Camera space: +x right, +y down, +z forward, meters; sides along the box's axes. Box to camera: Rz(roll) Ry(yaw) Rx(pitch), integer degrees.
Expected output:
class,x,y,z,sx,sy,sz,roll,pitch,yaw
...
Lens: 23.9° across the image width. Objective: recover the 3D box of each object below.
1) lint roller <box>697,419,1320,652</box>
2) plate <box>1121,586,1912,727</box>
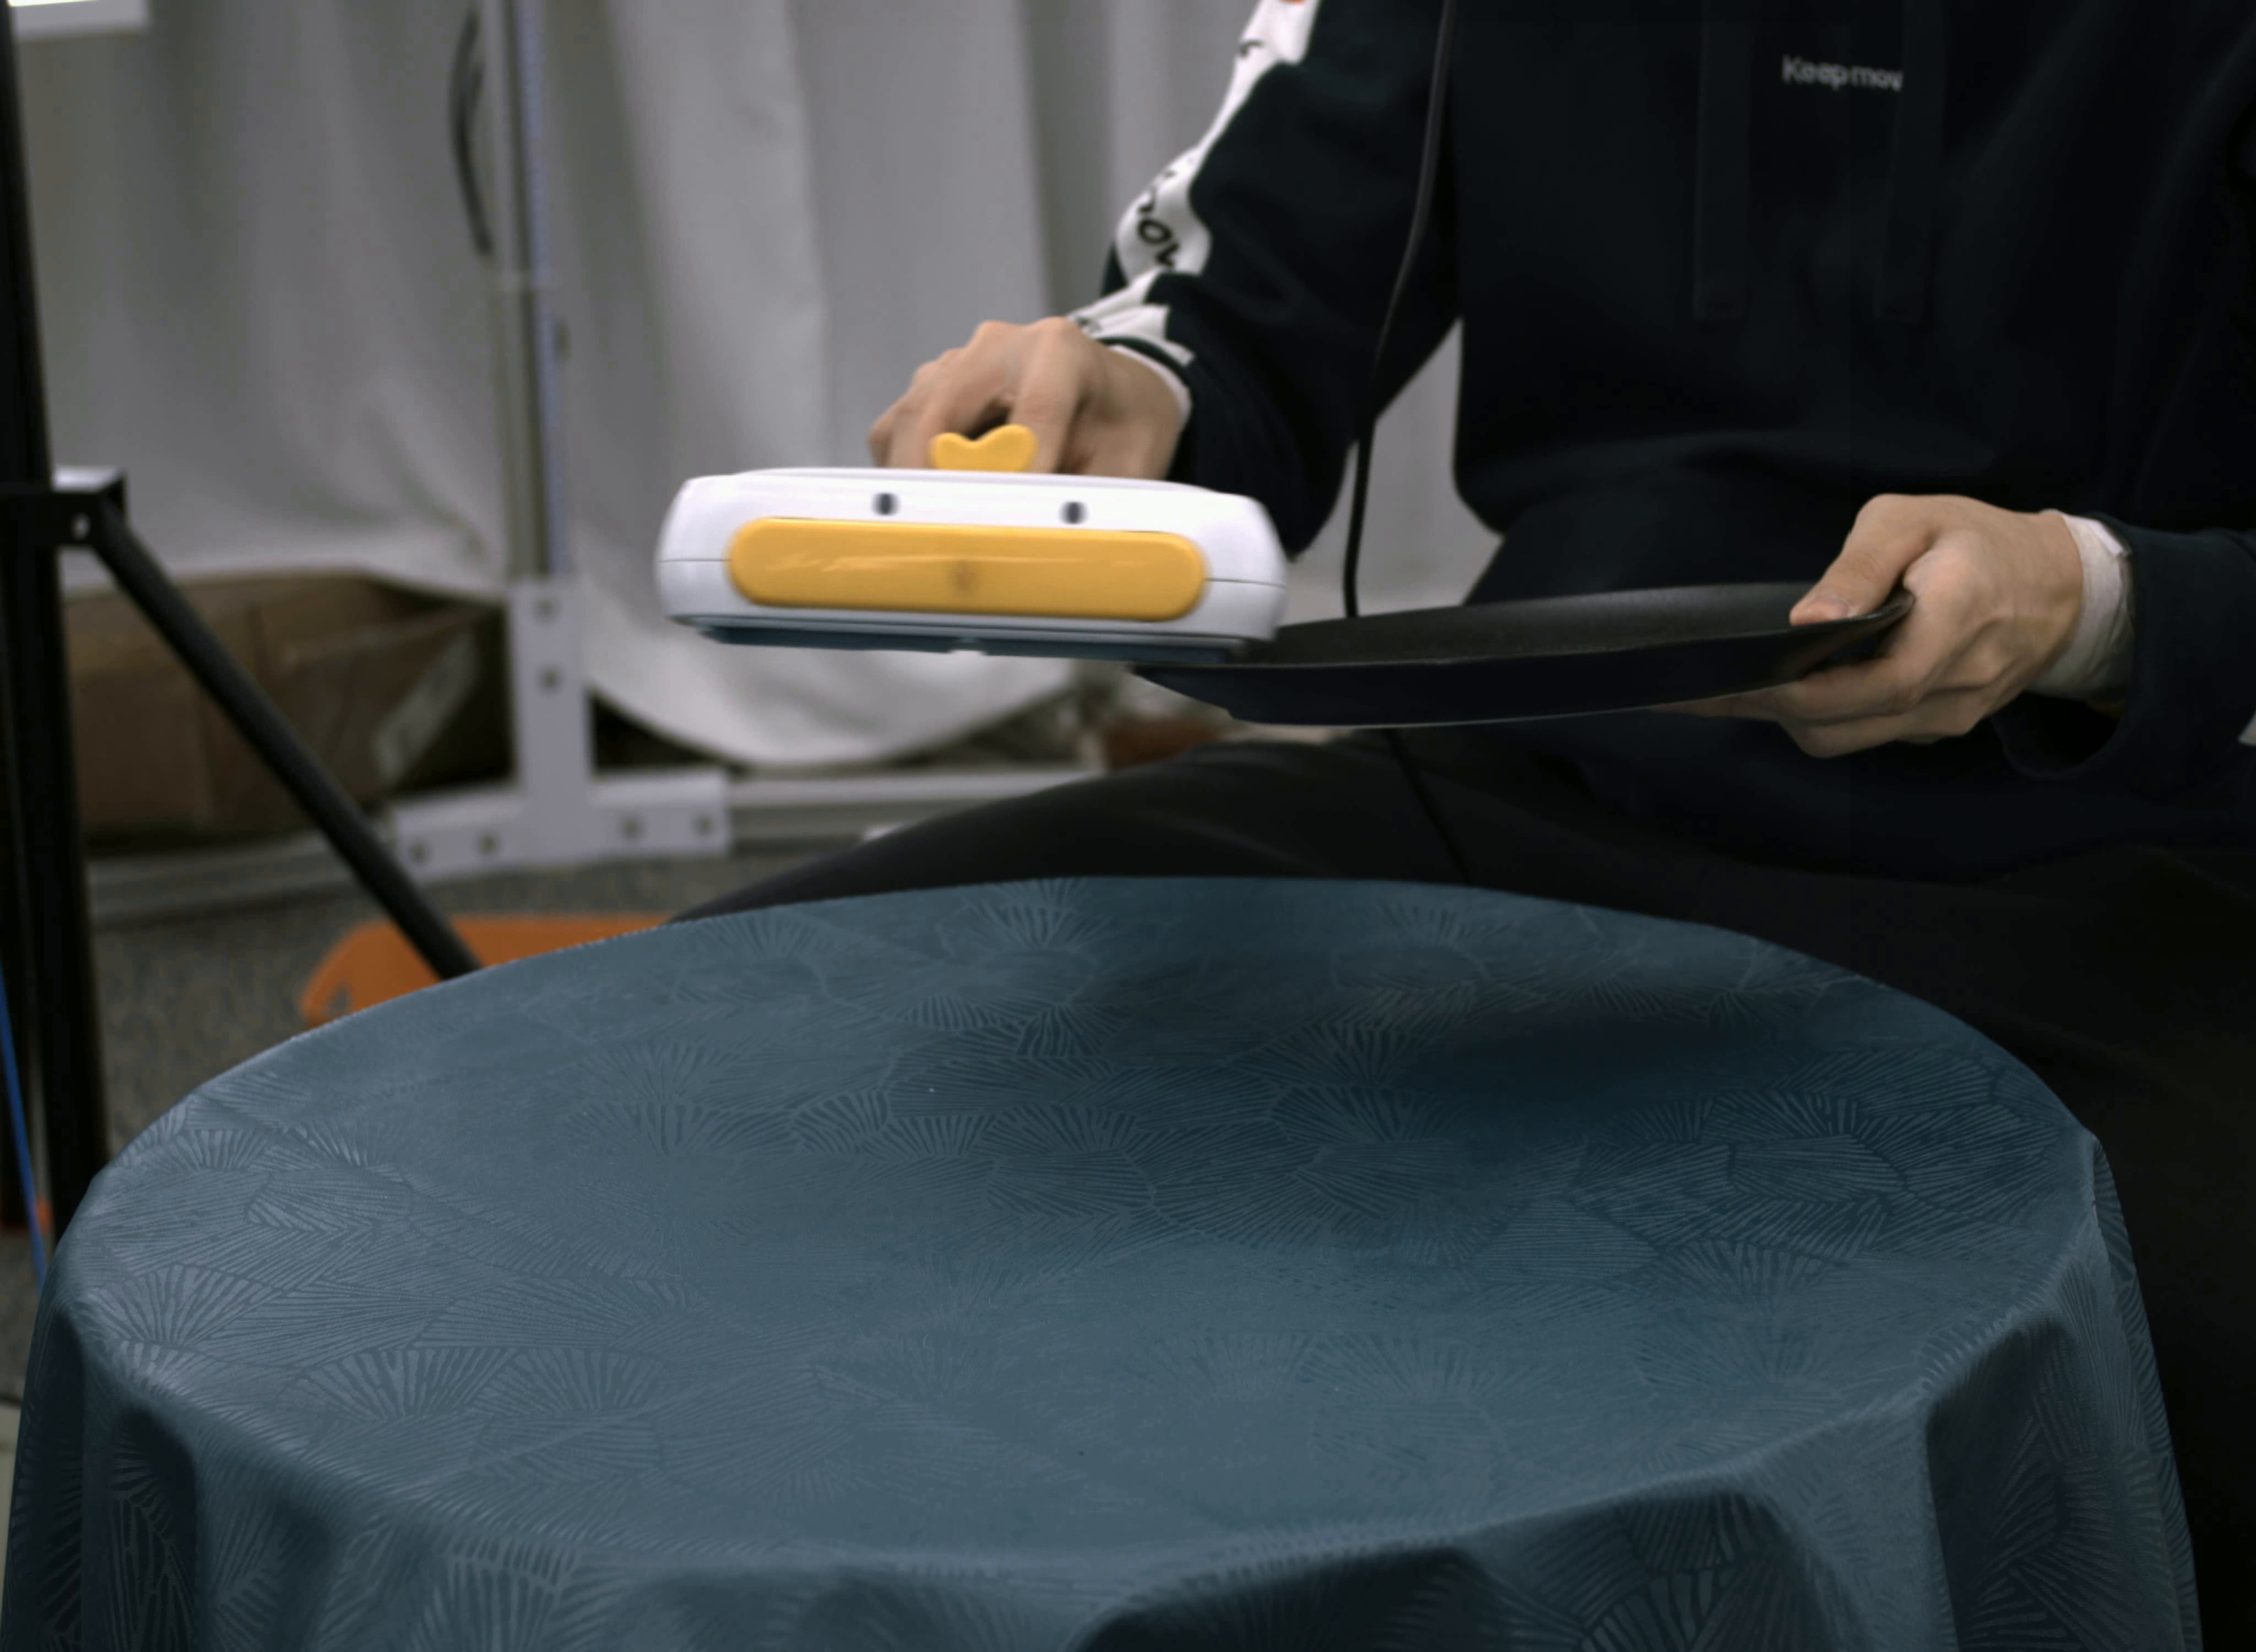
class,x,y,z,sx,sy,sz,roll,pitch,yaw
lint roller,-0.041,-0.093,1.701,0.191,0.074,0.193,-3,5,-2
plate,0.120,-0.051,1.636,0.243,0.023,0.245,-5,6,-1
